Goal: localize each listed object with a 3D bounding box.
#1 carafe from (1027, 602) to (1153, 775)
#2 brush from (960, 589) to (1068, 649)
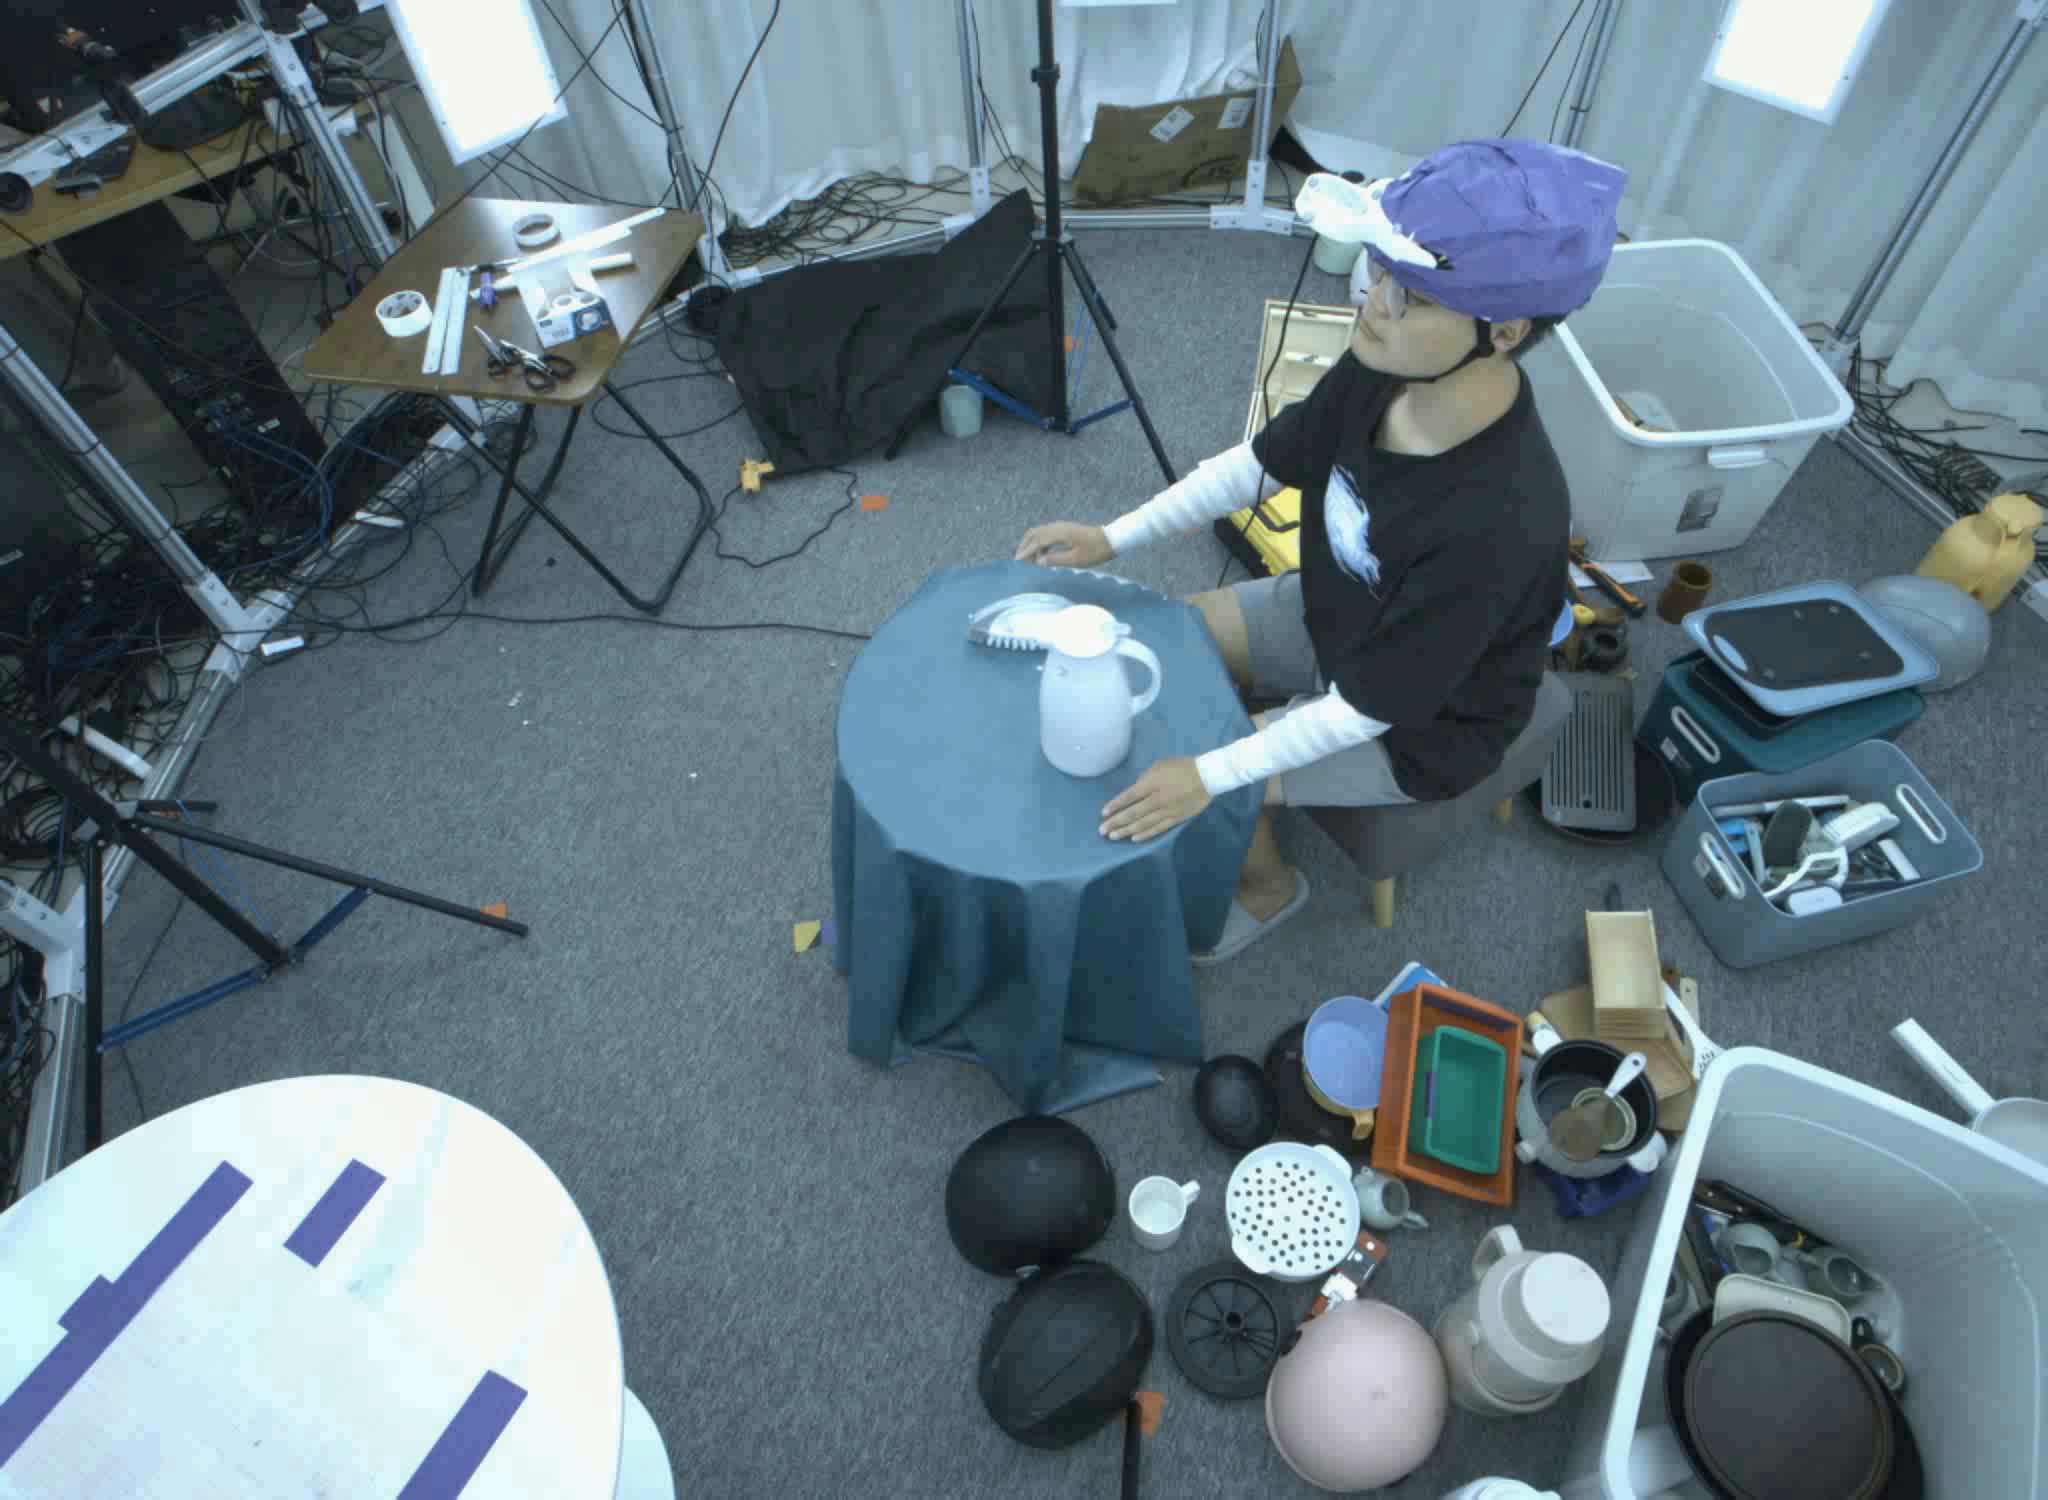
[{"bbox_3d":[0.091,-0.090,1.686,0.167,0.251,0.131,1,54,4],"label":"carafe"},{"bbox_3d":[-0.015,-0.201,1.866,0.175,0.095,0.061,-4,51,2],"label":"brush"}]
